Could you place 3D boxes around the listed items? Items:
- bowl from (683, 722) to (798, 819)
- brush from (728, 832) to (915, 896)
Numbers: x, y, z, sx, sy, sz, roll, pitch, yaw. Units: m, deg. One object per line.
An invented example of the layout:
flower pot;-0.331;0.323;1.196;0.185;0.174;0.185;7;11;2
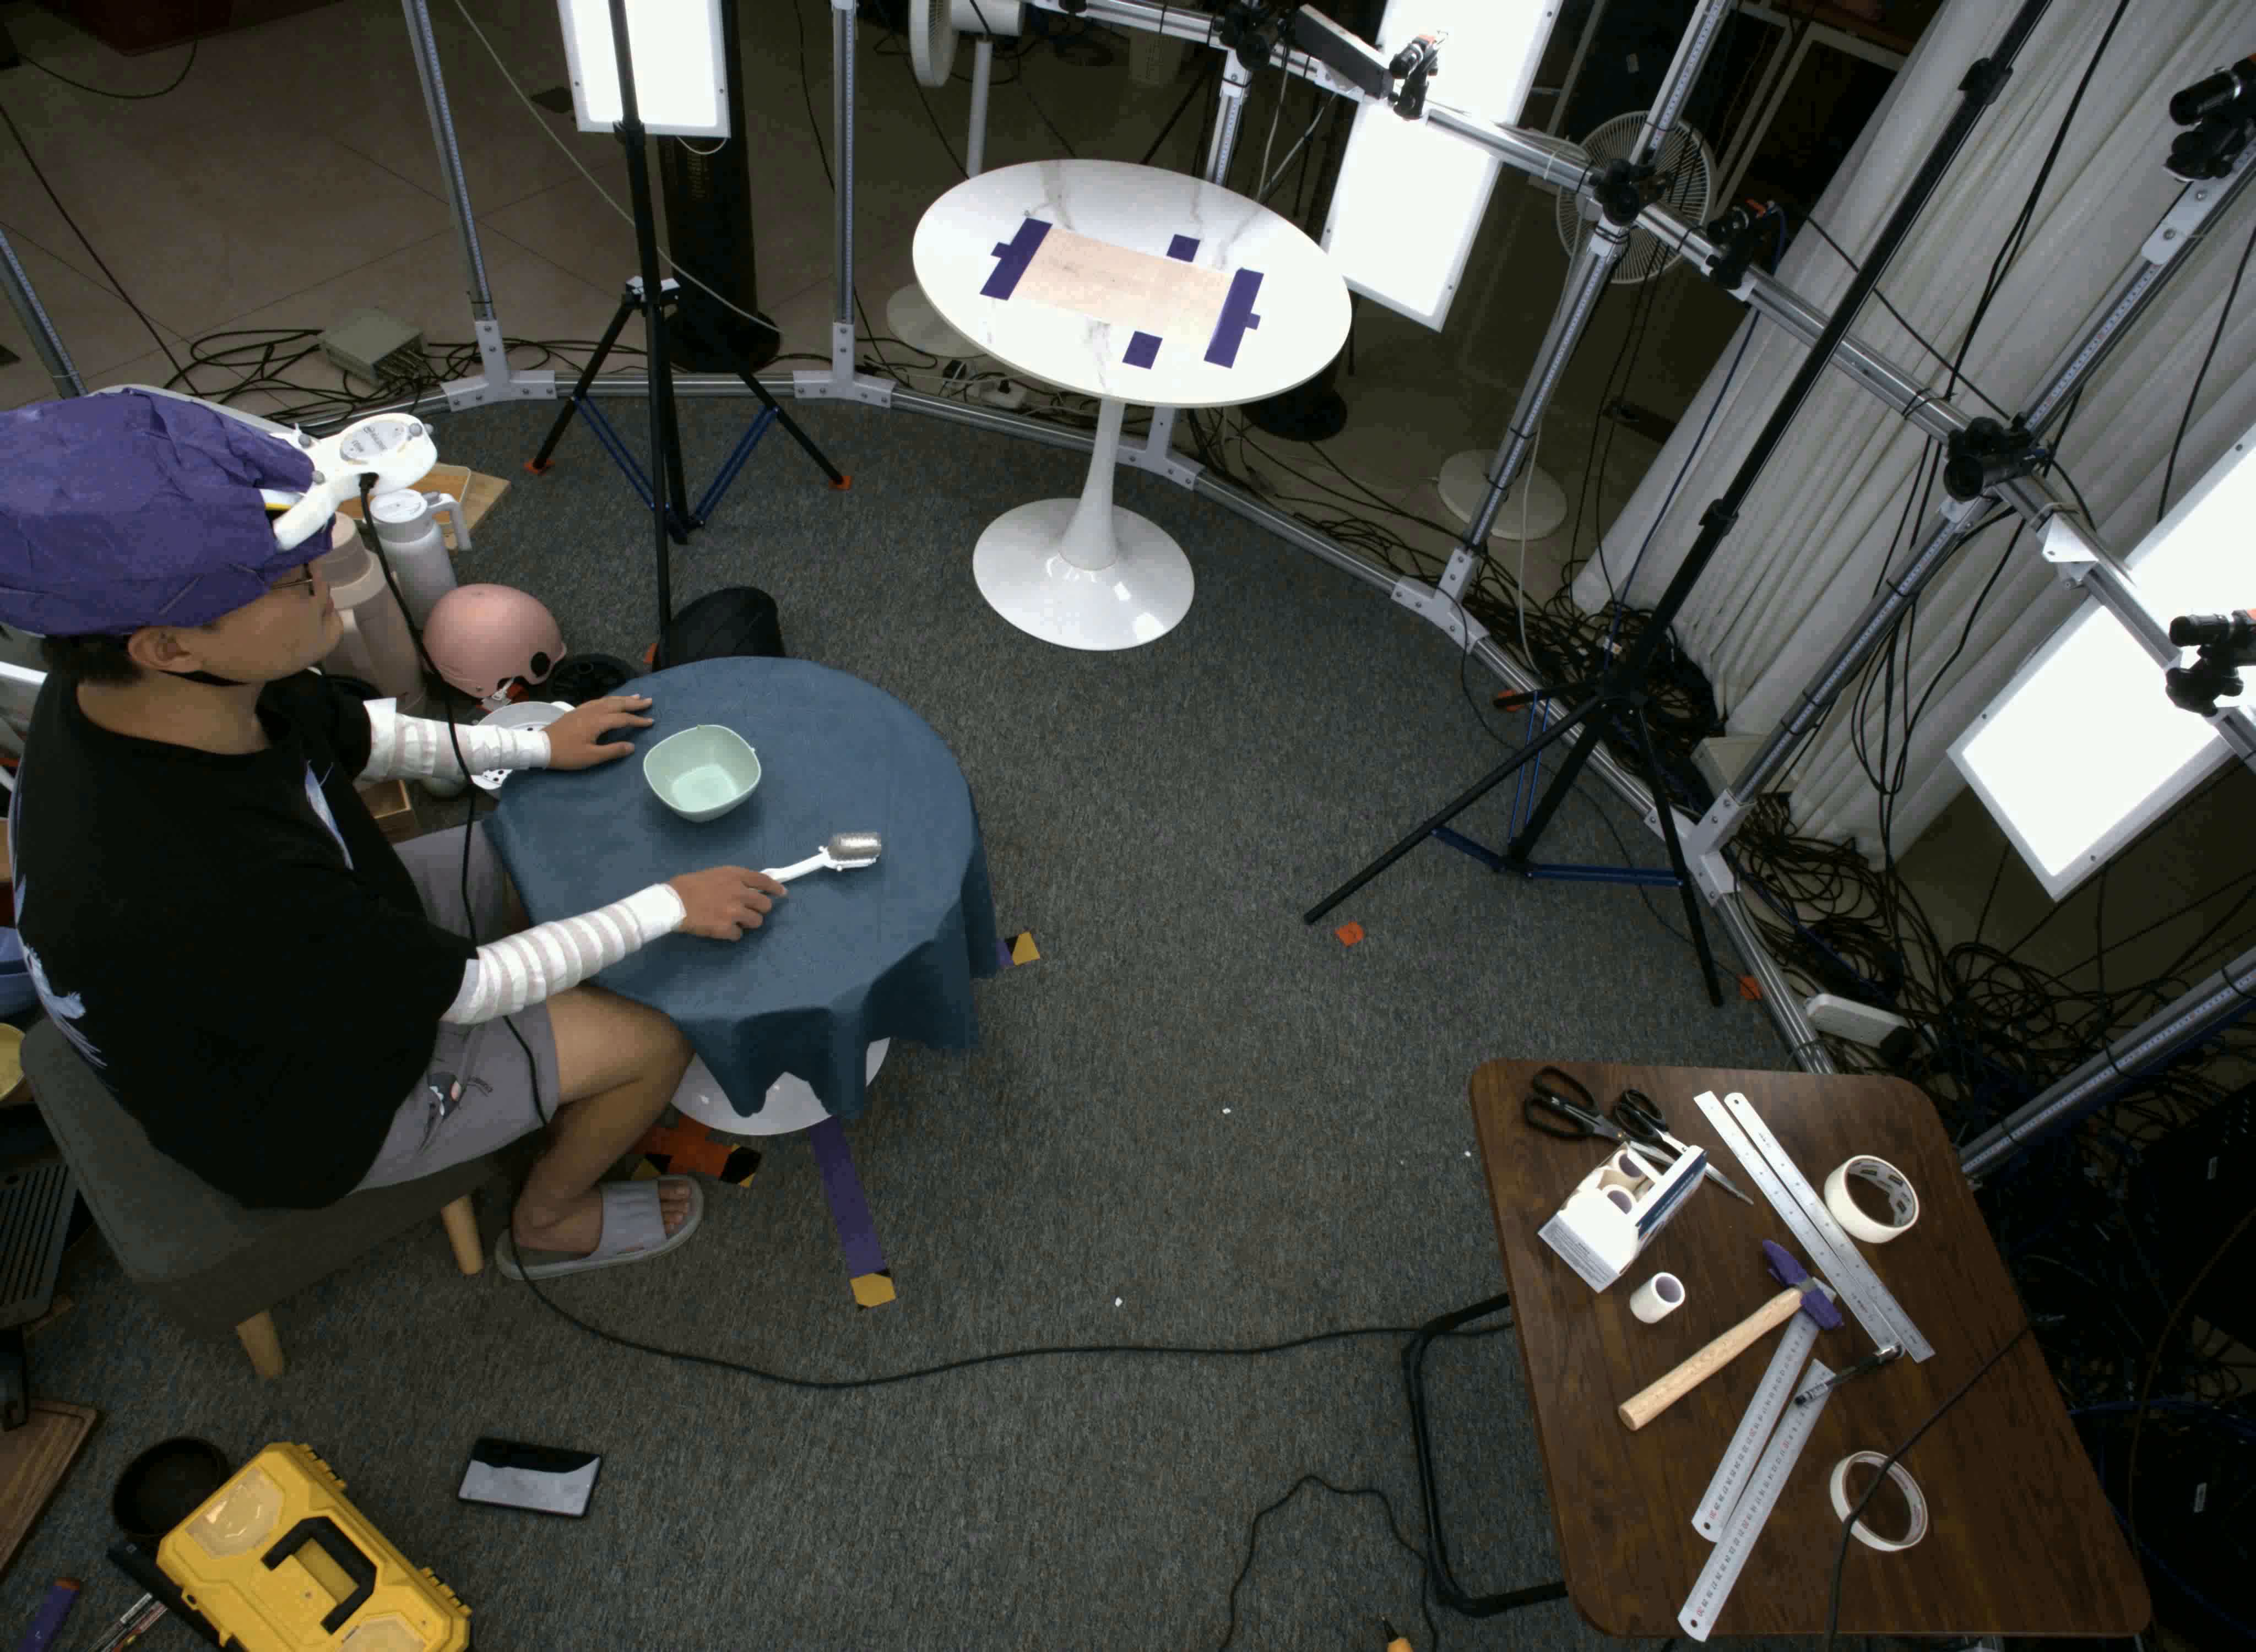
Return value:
bowl;-0.515;-0.065;1.724;0.151;0.060;0.148;7;51;-7
brush;-0.396;0.046;1.675;0.245;0.051;0.033;-11;53;-22
